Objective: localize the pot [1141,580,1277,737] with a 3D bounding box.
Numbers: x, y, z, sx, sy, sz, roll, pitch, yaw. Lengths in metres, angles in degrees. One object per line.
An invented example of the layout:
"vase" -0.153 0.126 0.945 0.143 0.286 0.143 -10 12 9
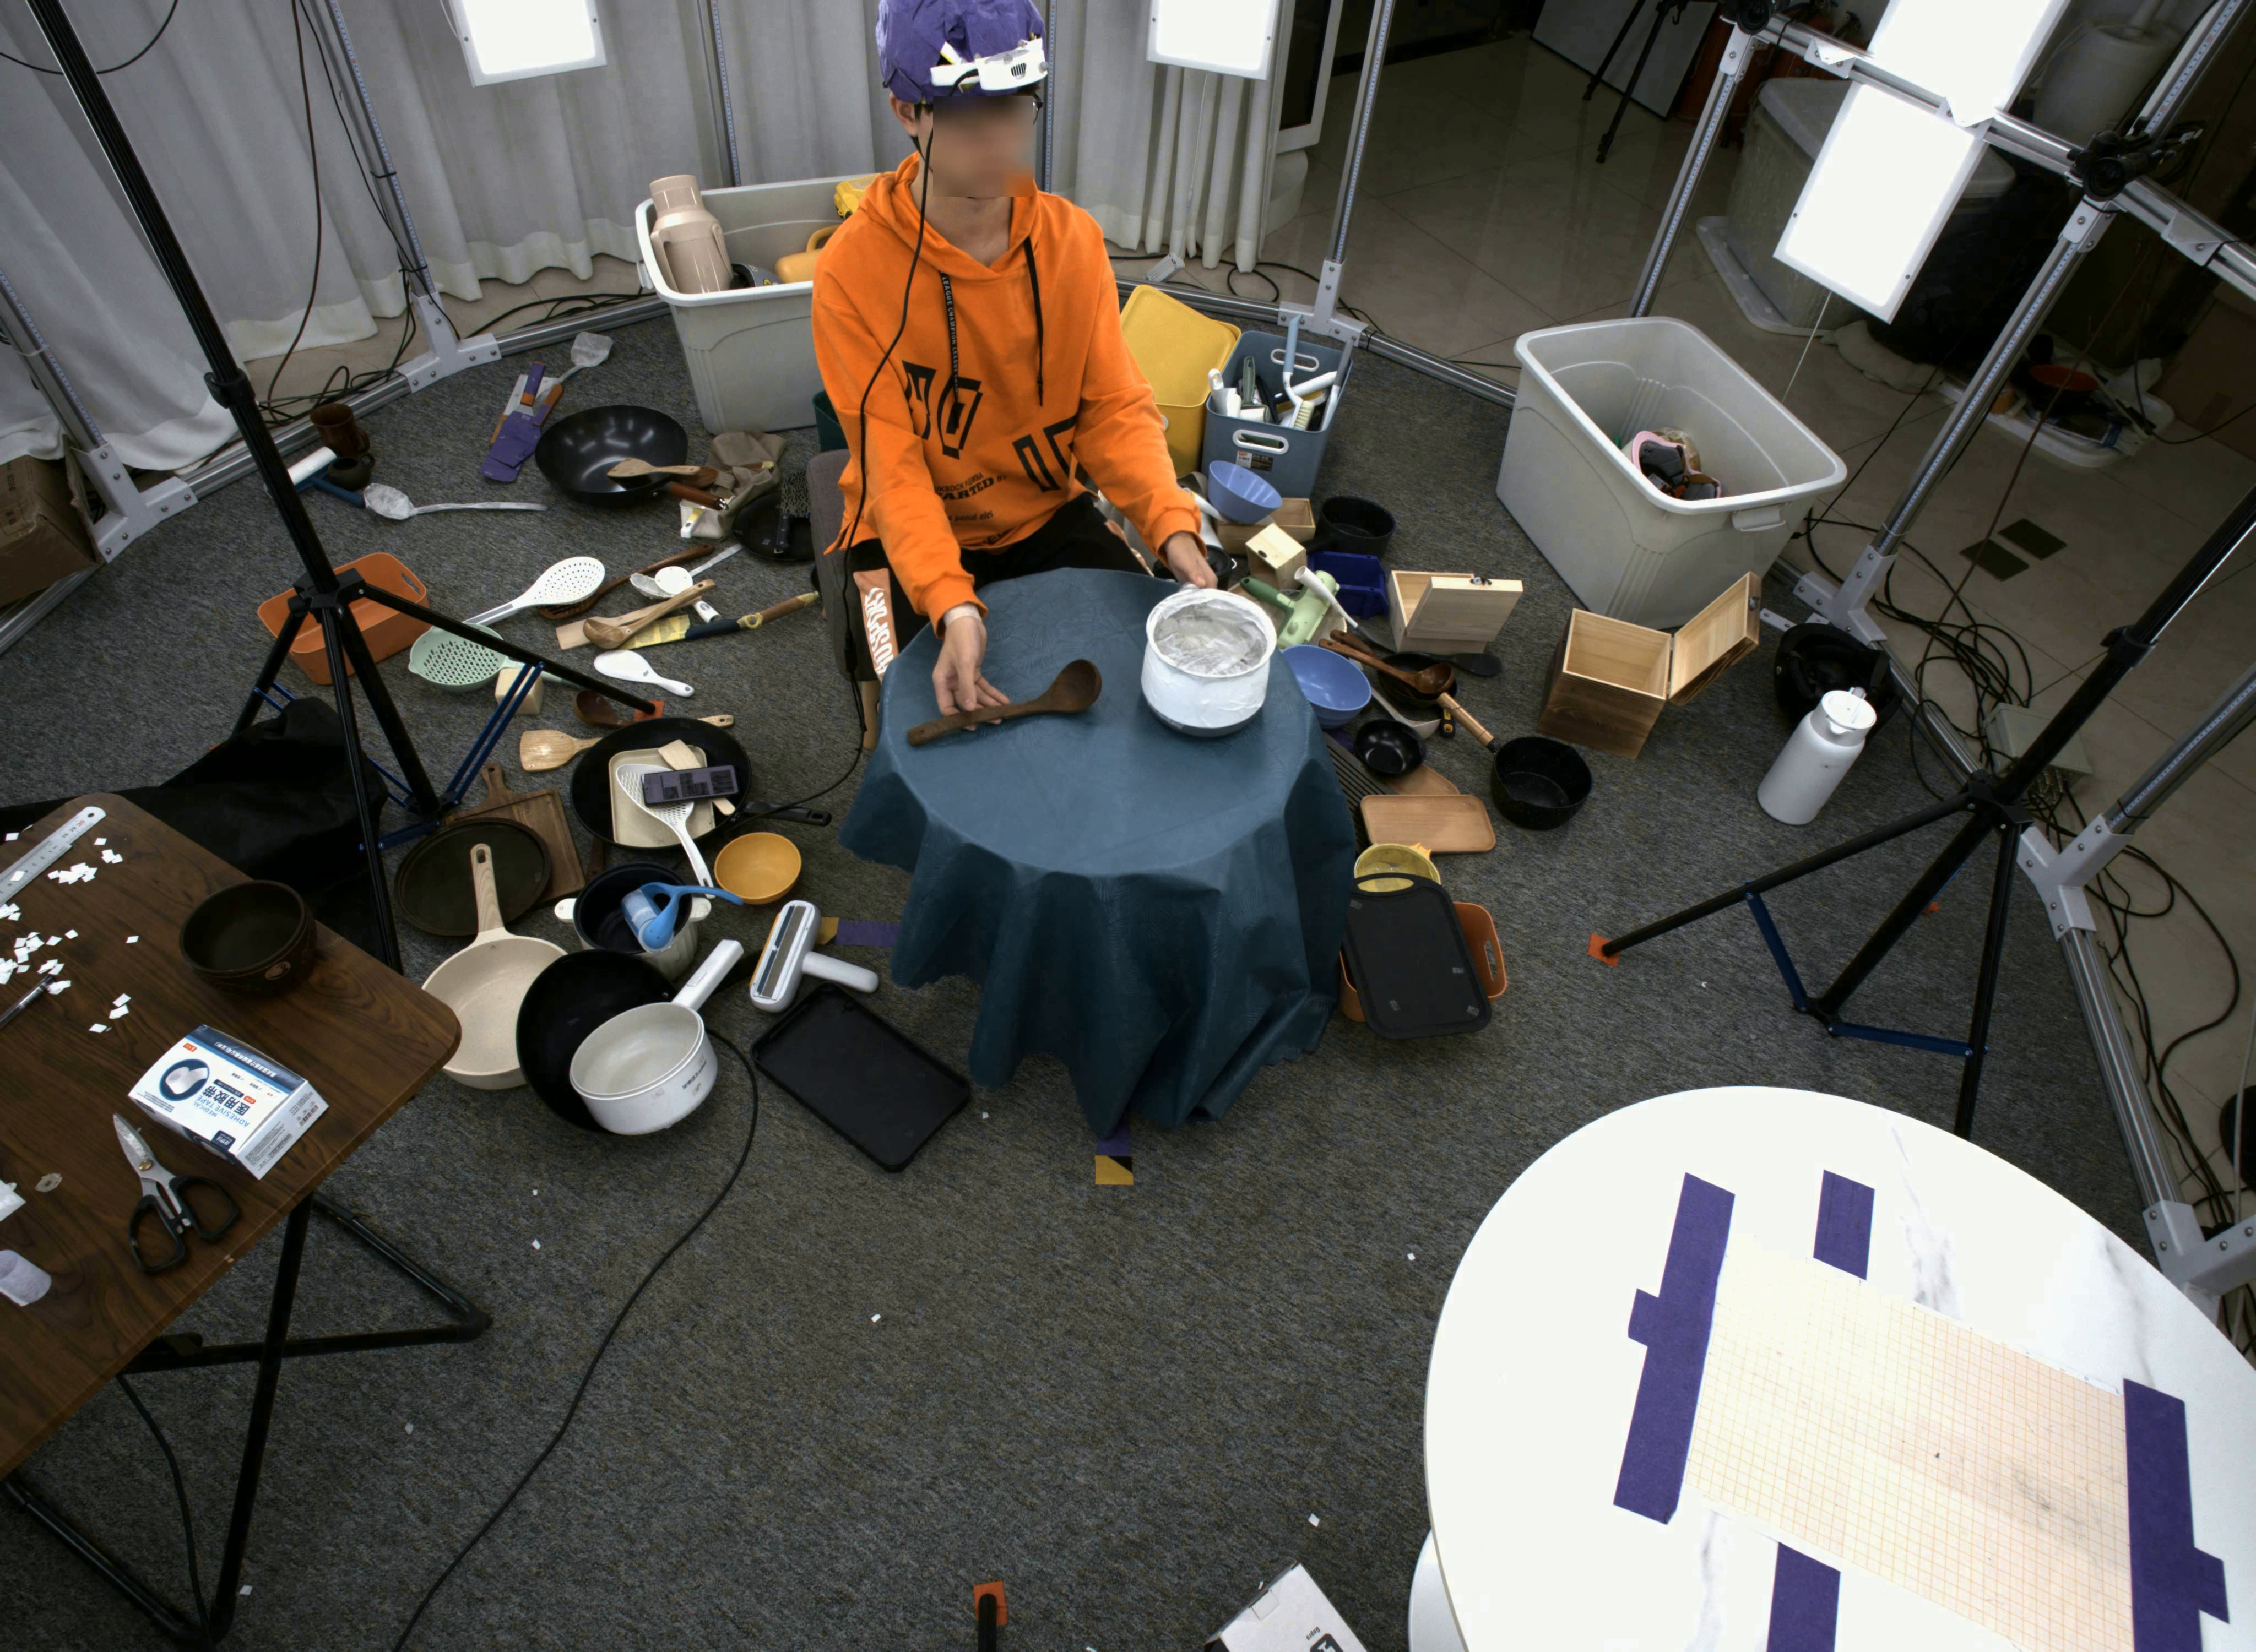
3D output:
"pot" 0.102 -0.244 1.798 0.178 0.133 0.239 -8 51 -12

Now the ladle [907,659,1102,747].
"ladle" -0.168 -0.167 1.756 0.274 0.070 0.078 -15 57 -18
